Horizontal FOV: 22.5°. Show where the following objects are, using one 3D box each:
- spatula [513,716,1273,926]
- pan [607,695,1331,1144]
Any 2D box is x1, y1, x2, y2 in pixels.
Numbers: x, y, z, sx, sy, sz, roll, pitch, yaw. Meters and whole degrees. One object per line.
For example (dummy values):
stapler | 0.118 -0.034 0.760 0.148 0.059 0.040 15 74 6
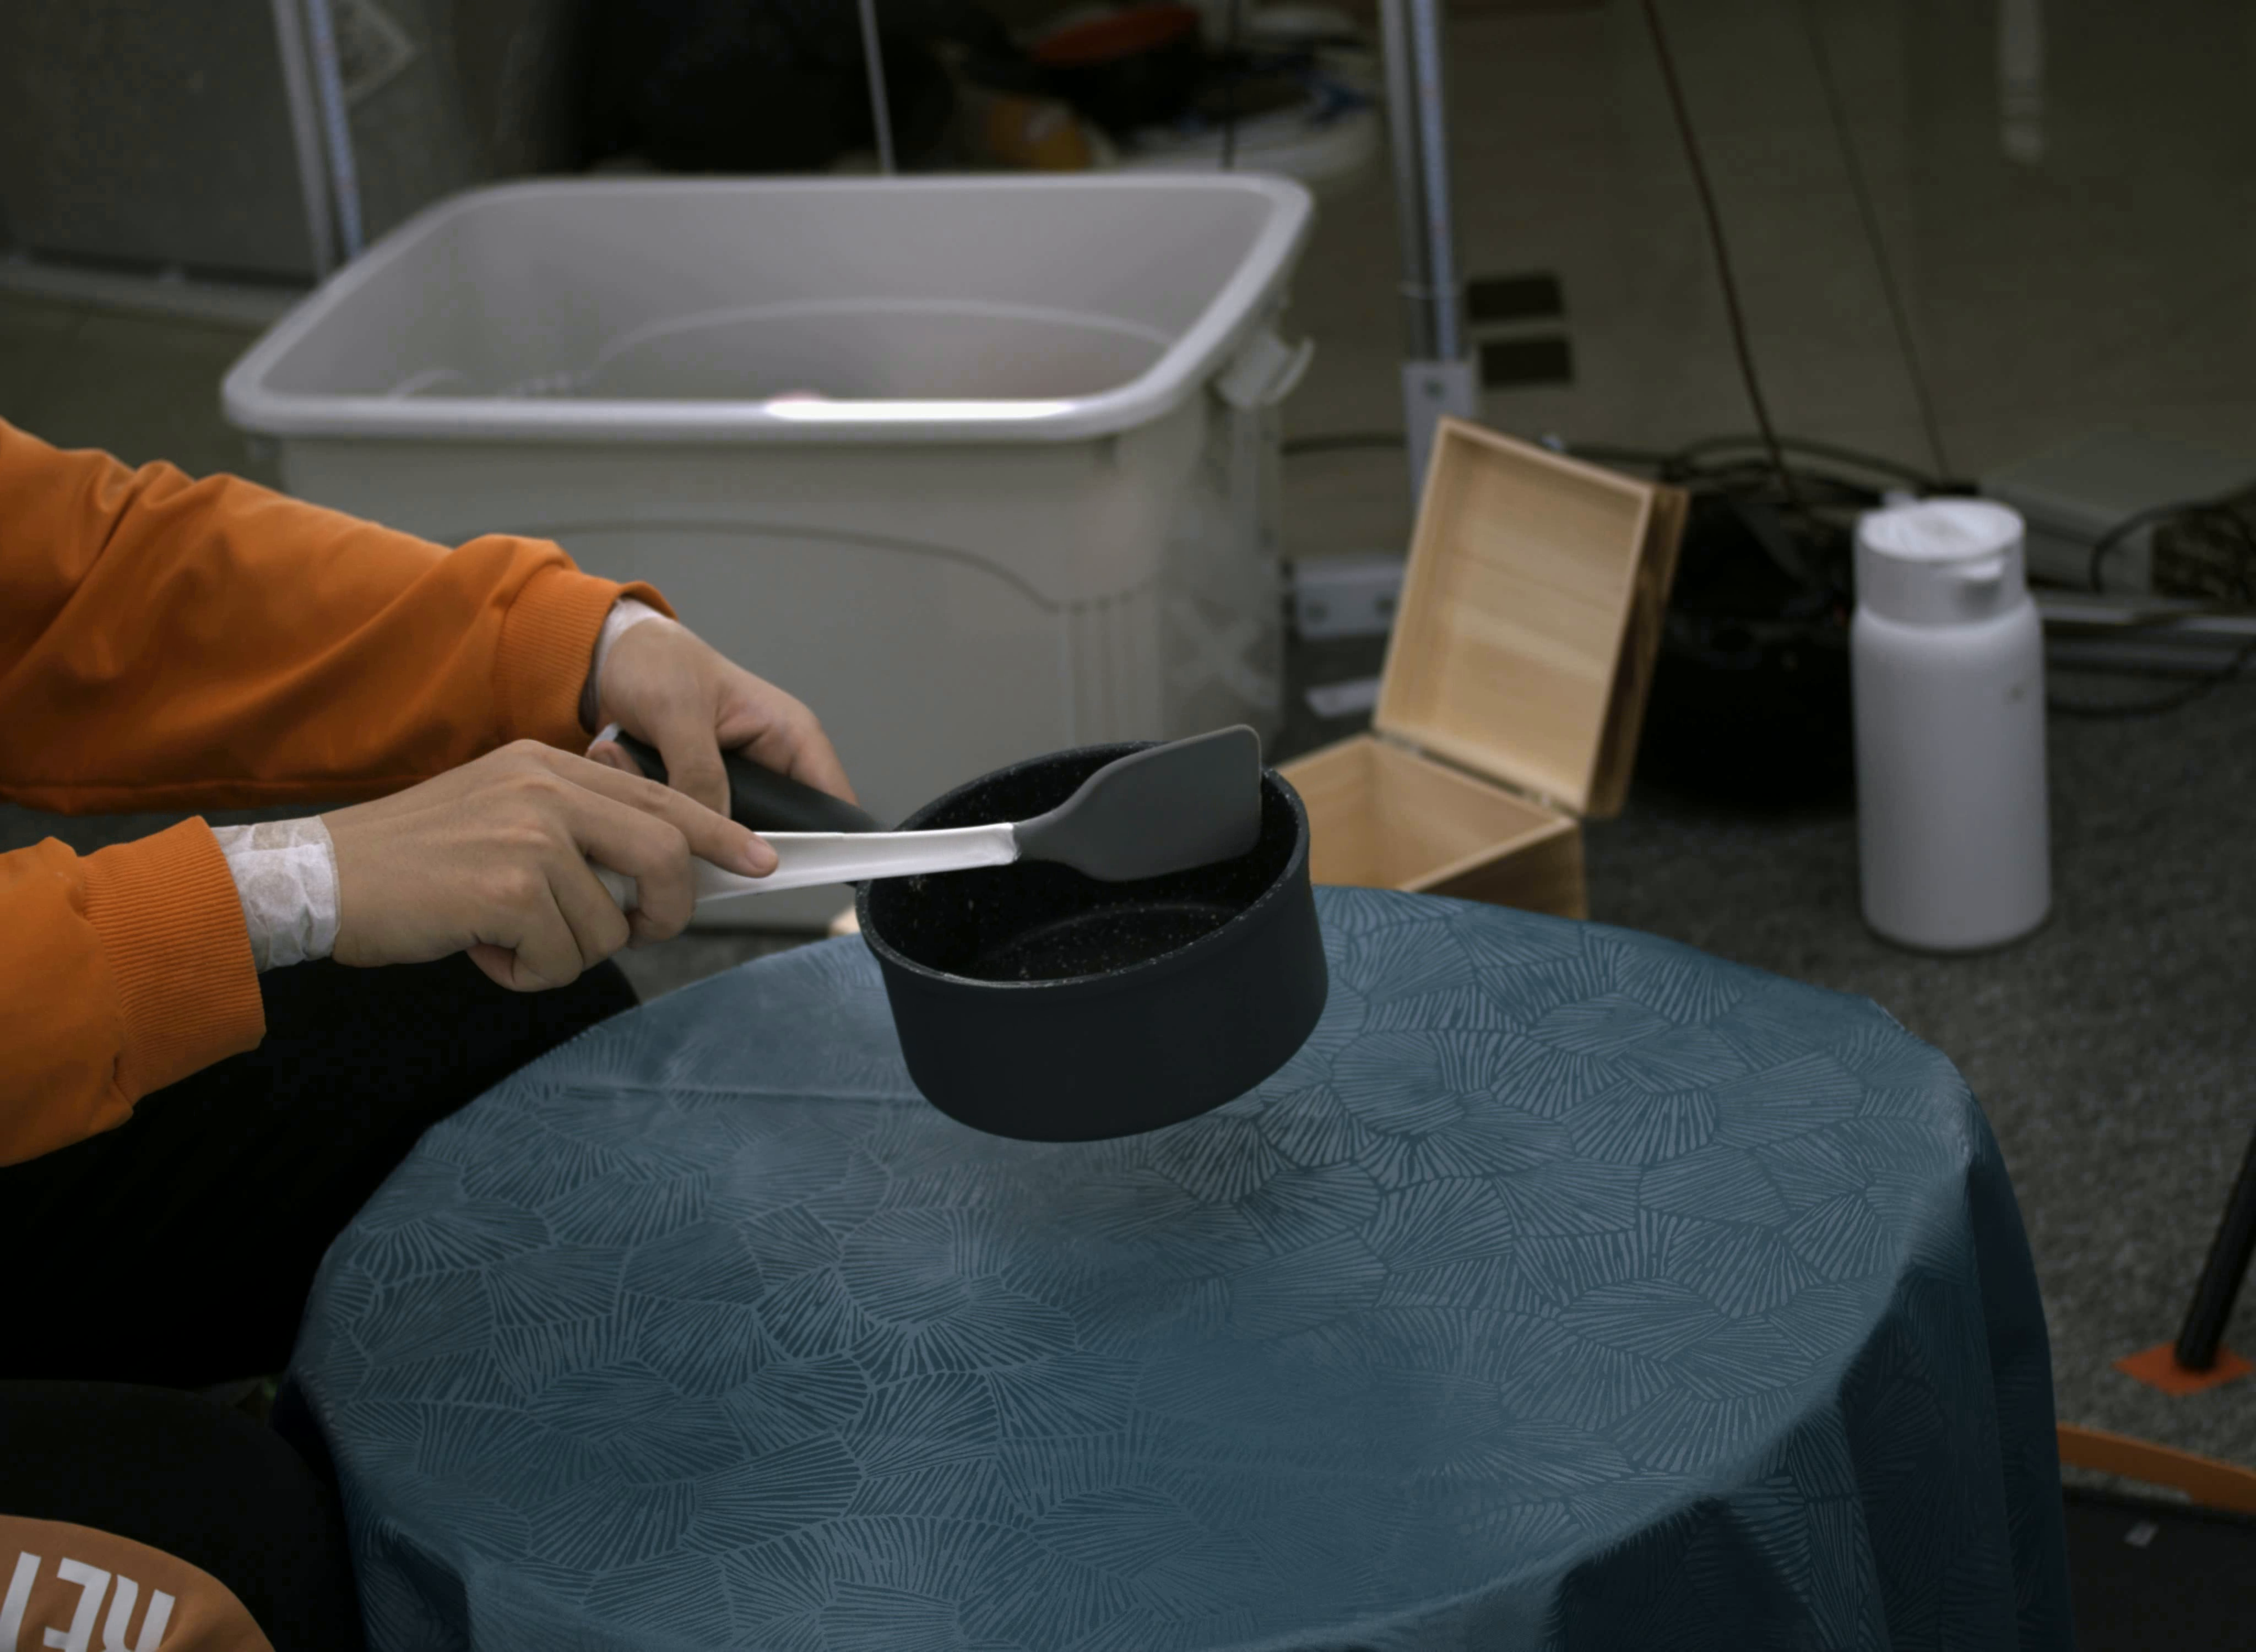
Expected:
spatula | -0.080 0.004 2.055 0.287 0.059 0.032 -7 22 -18
pan | -0.070 0.025 2.162 0.326 0.088 0.170 17 40 38
